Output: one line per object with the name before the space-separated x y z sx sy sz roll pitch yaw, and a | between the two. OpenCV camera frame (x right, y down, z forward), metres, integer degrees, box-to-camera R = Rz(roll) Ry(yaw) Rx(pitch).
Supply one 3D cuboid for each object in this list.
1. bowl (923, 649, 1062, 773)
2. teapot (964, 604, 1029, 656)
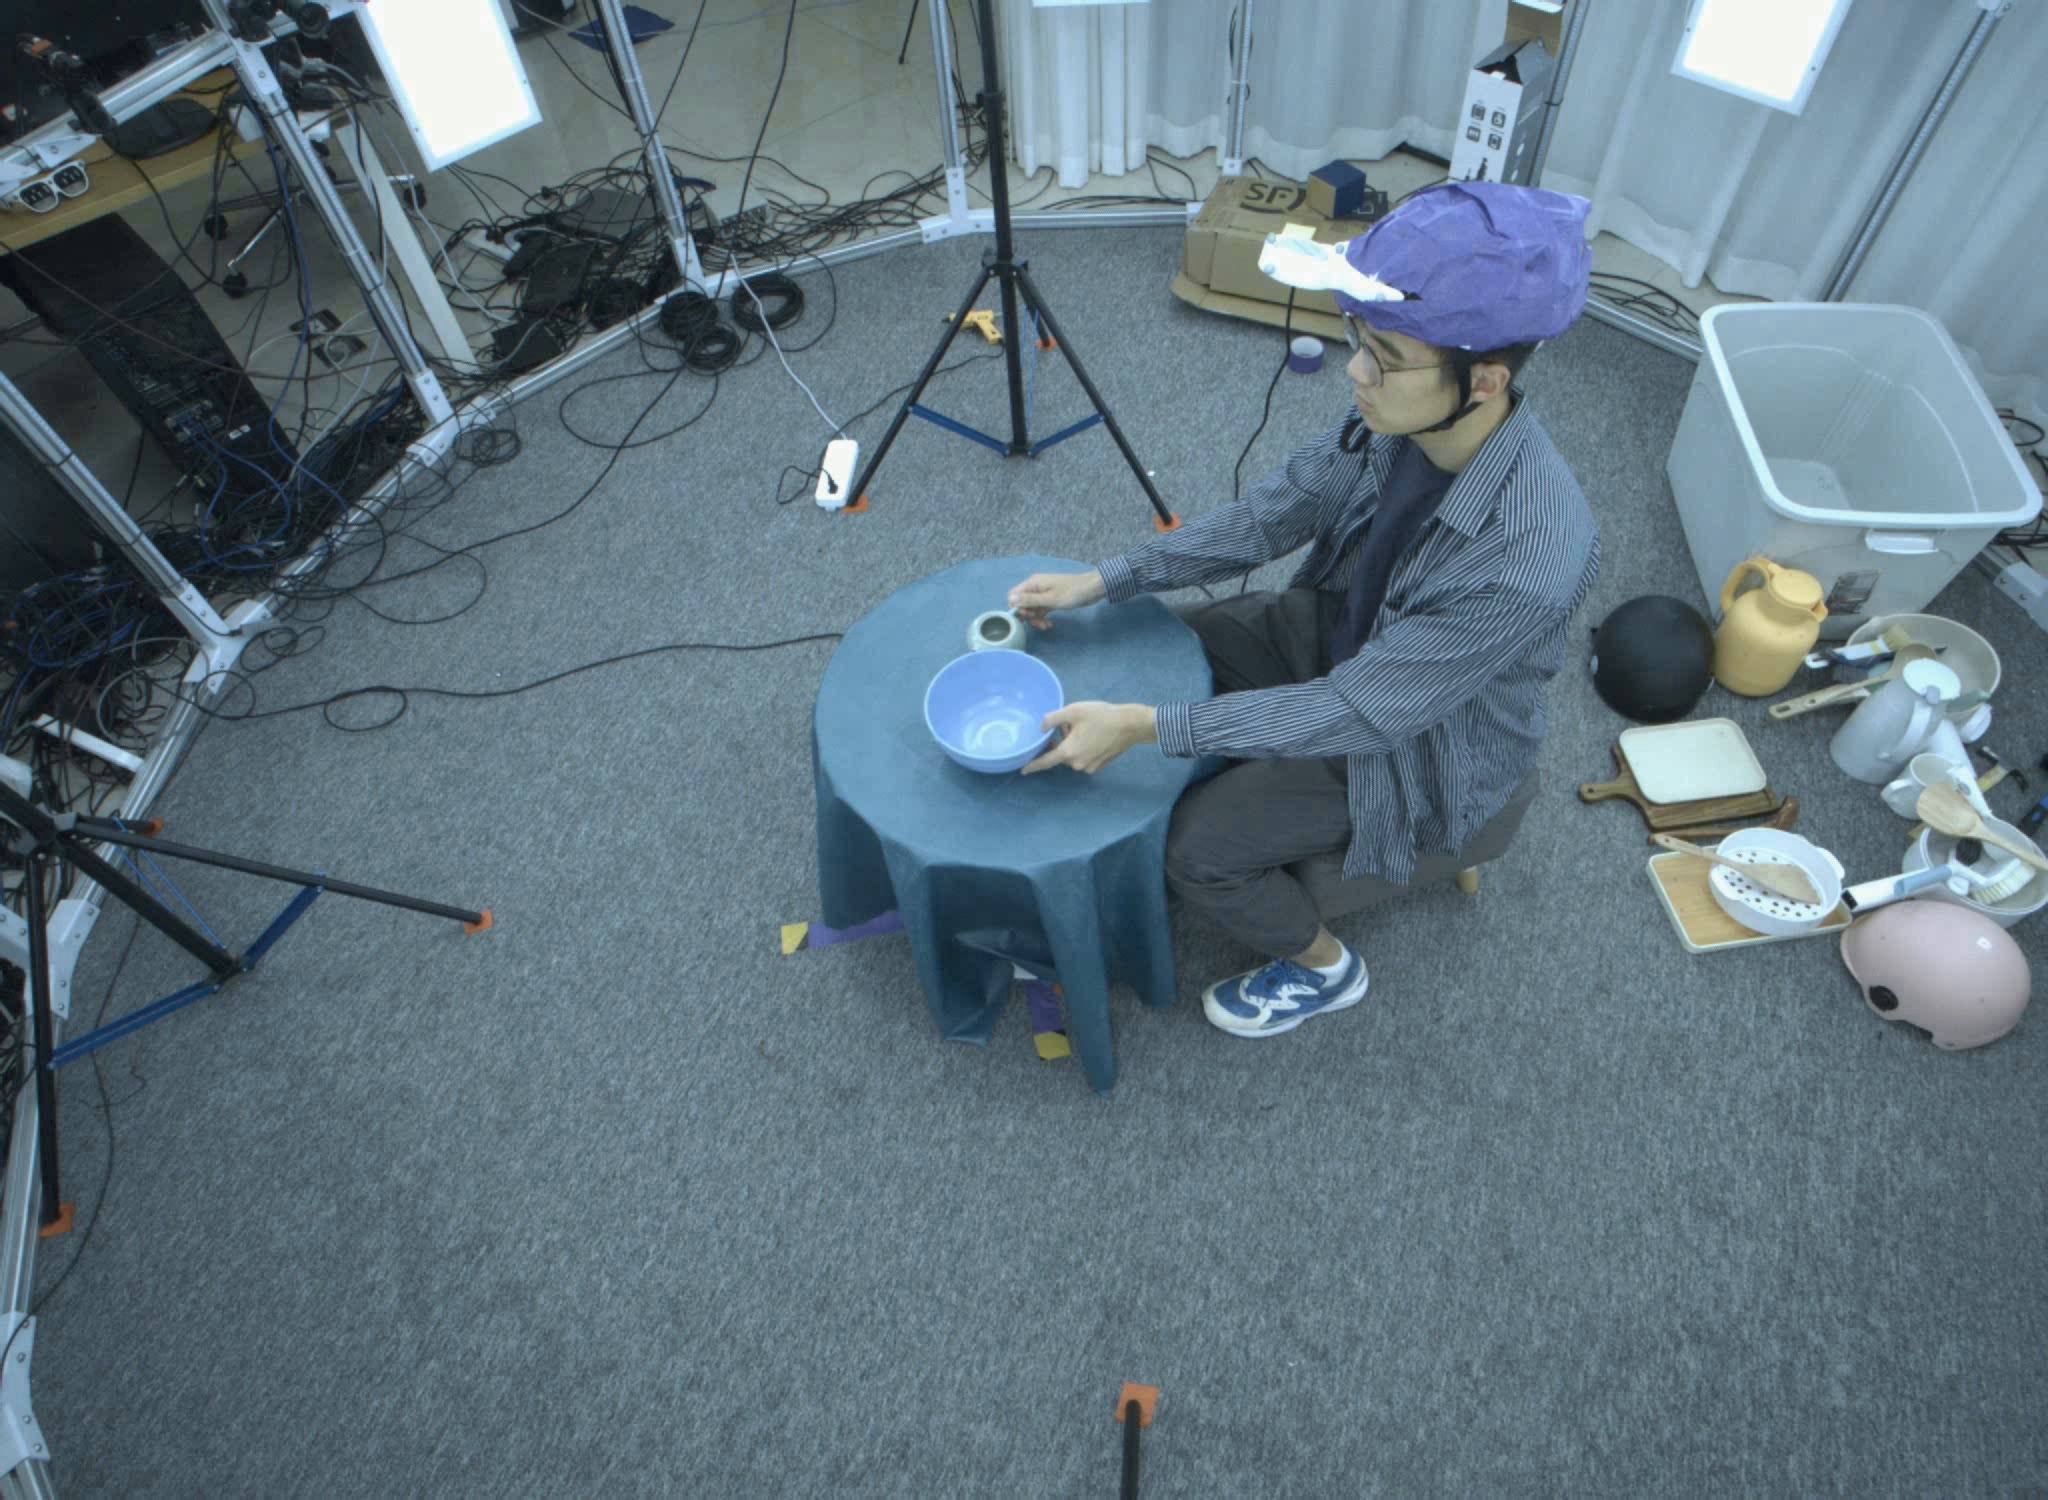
bowl | -0.042 -0.041 1.763 0.196 0.096 0.194 0 55 2
teapot | -0.039 -0.176 1.872 0.090 0.061 0.129 38 68 21
